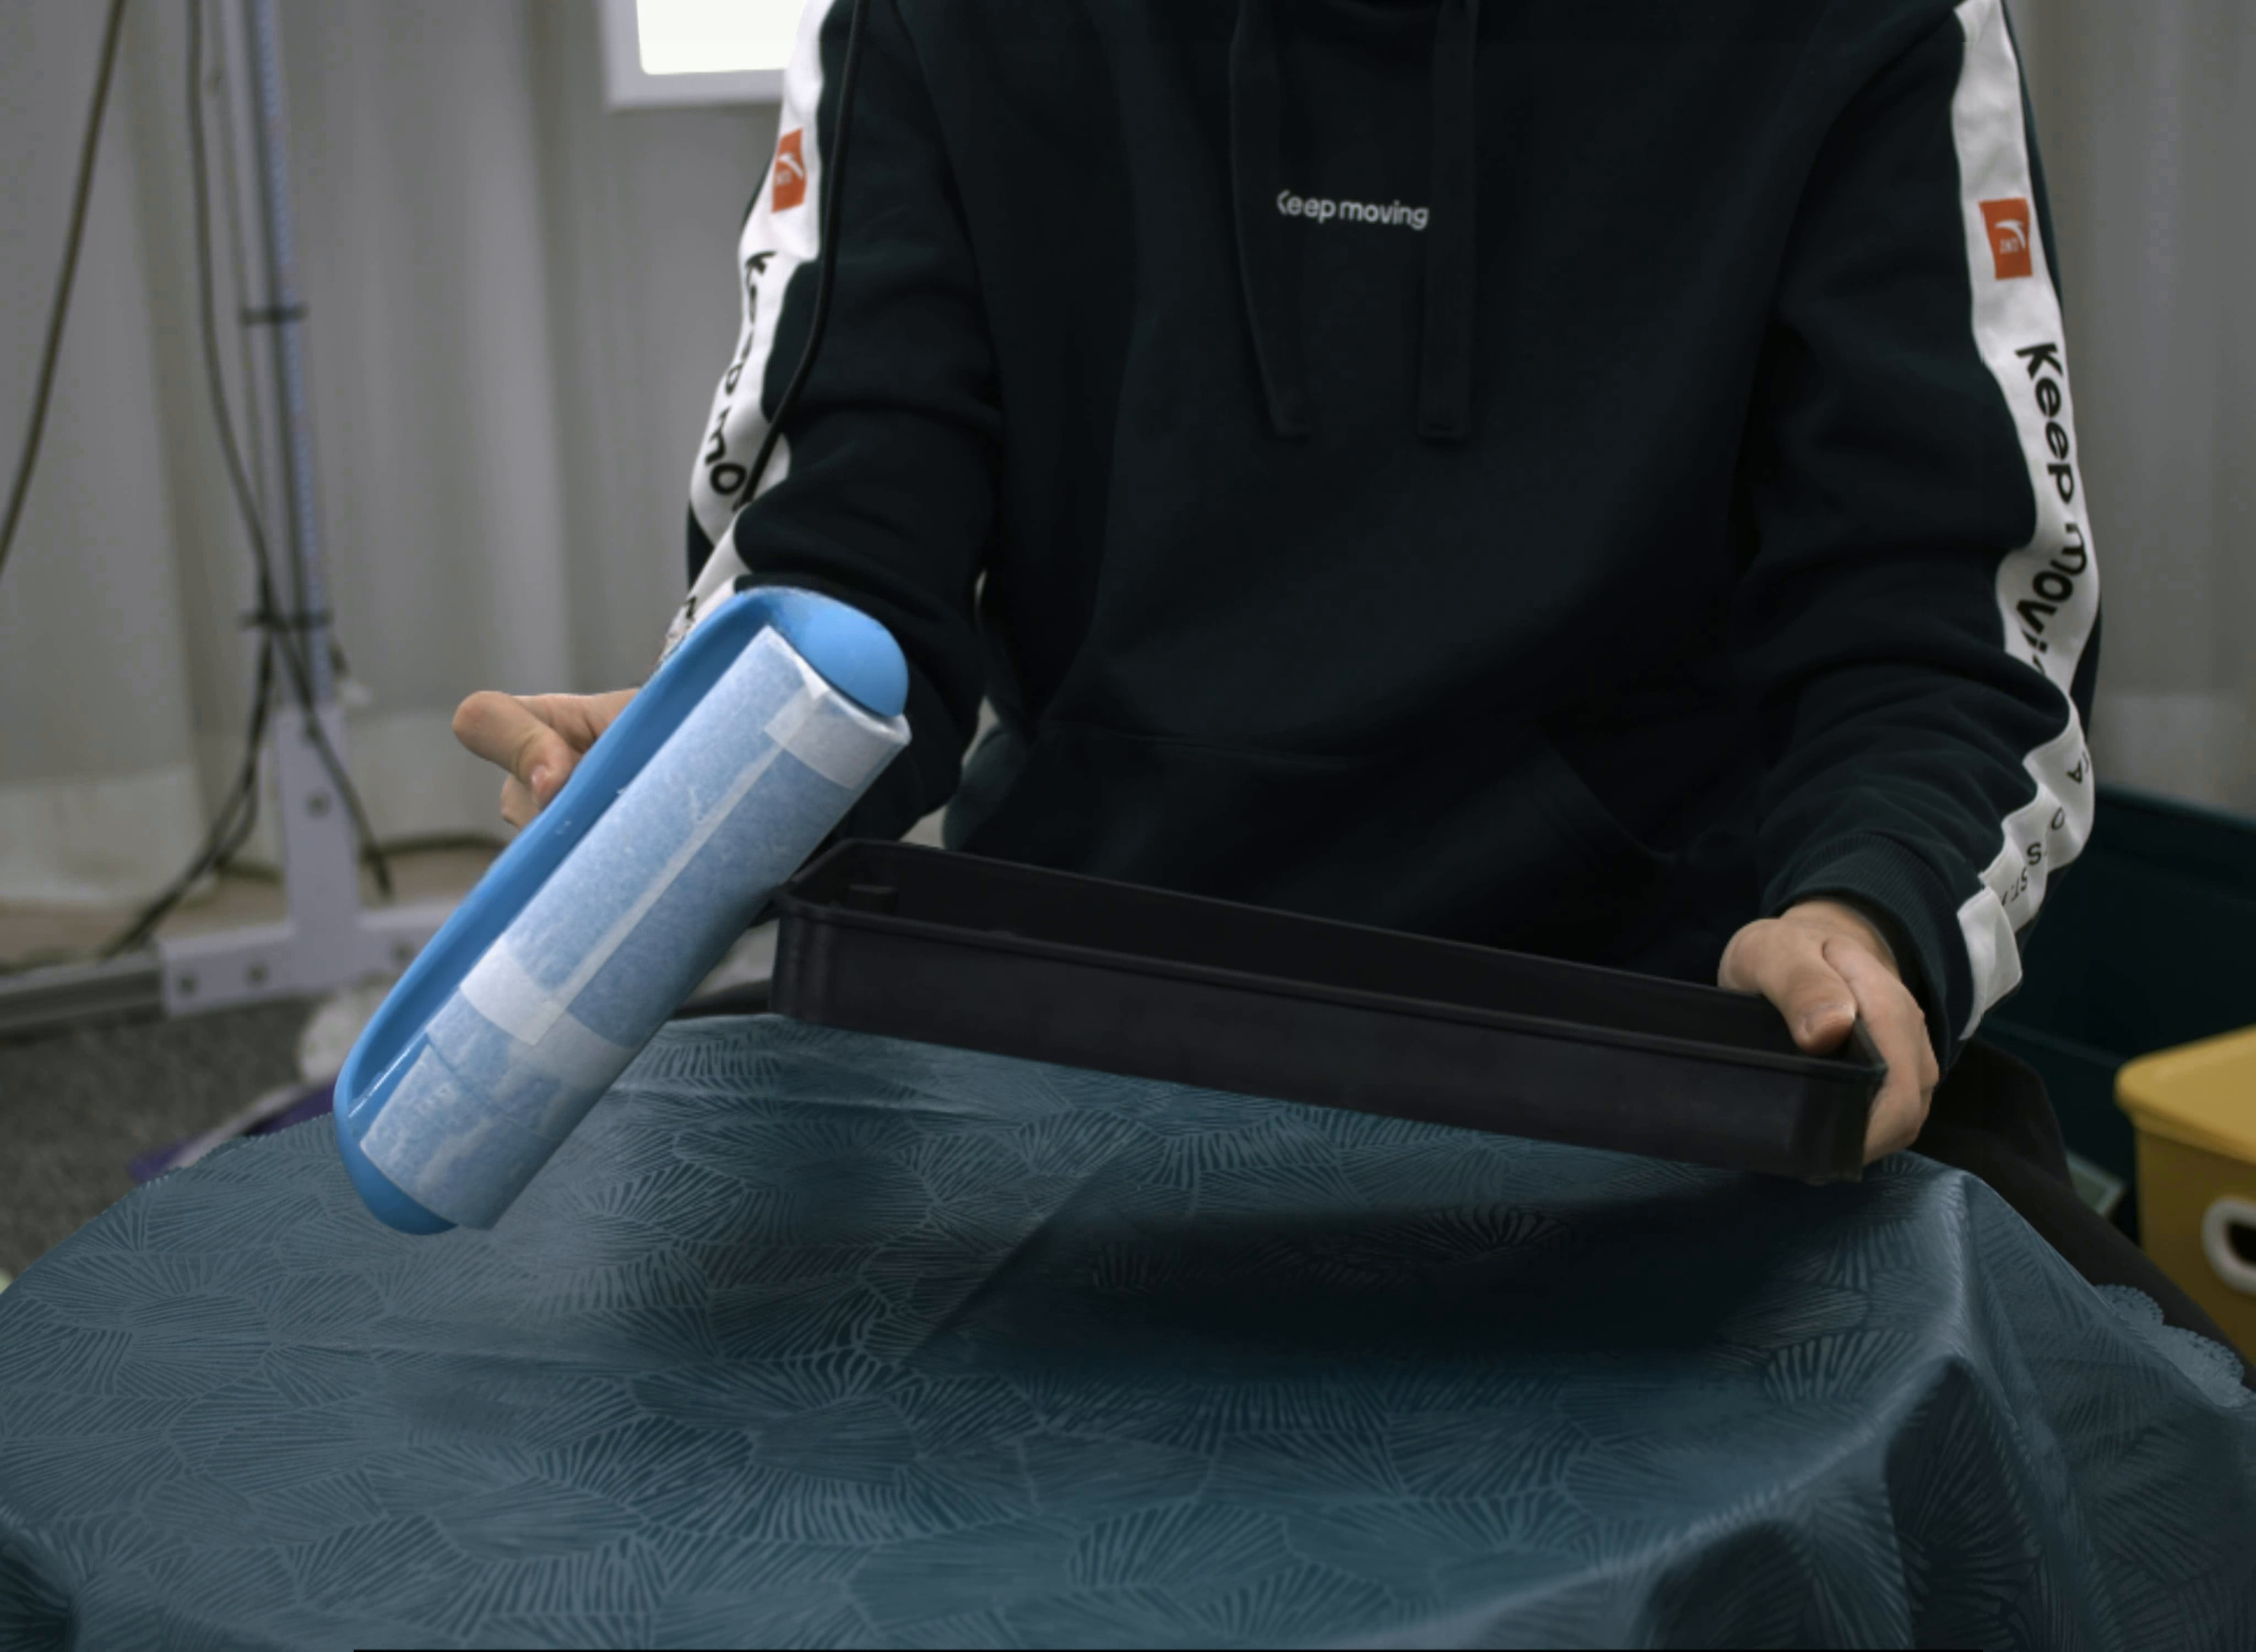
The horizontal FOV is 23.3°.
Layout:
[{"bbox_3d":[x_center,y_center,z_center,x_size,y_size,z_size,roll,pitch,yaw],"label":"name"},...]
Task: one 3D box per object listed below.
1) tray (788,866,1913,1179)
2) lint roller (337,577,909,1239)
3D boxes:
[{"bbox_3d":[0.064,0.056,1.601,0.317,0.037,0.184,8,4,3],"label":"tray"},{"bbox_3d":[-0.148,0.013,1.627,0.067,0.228,0.181,37,7,-12],"label":"lint roller"}]
